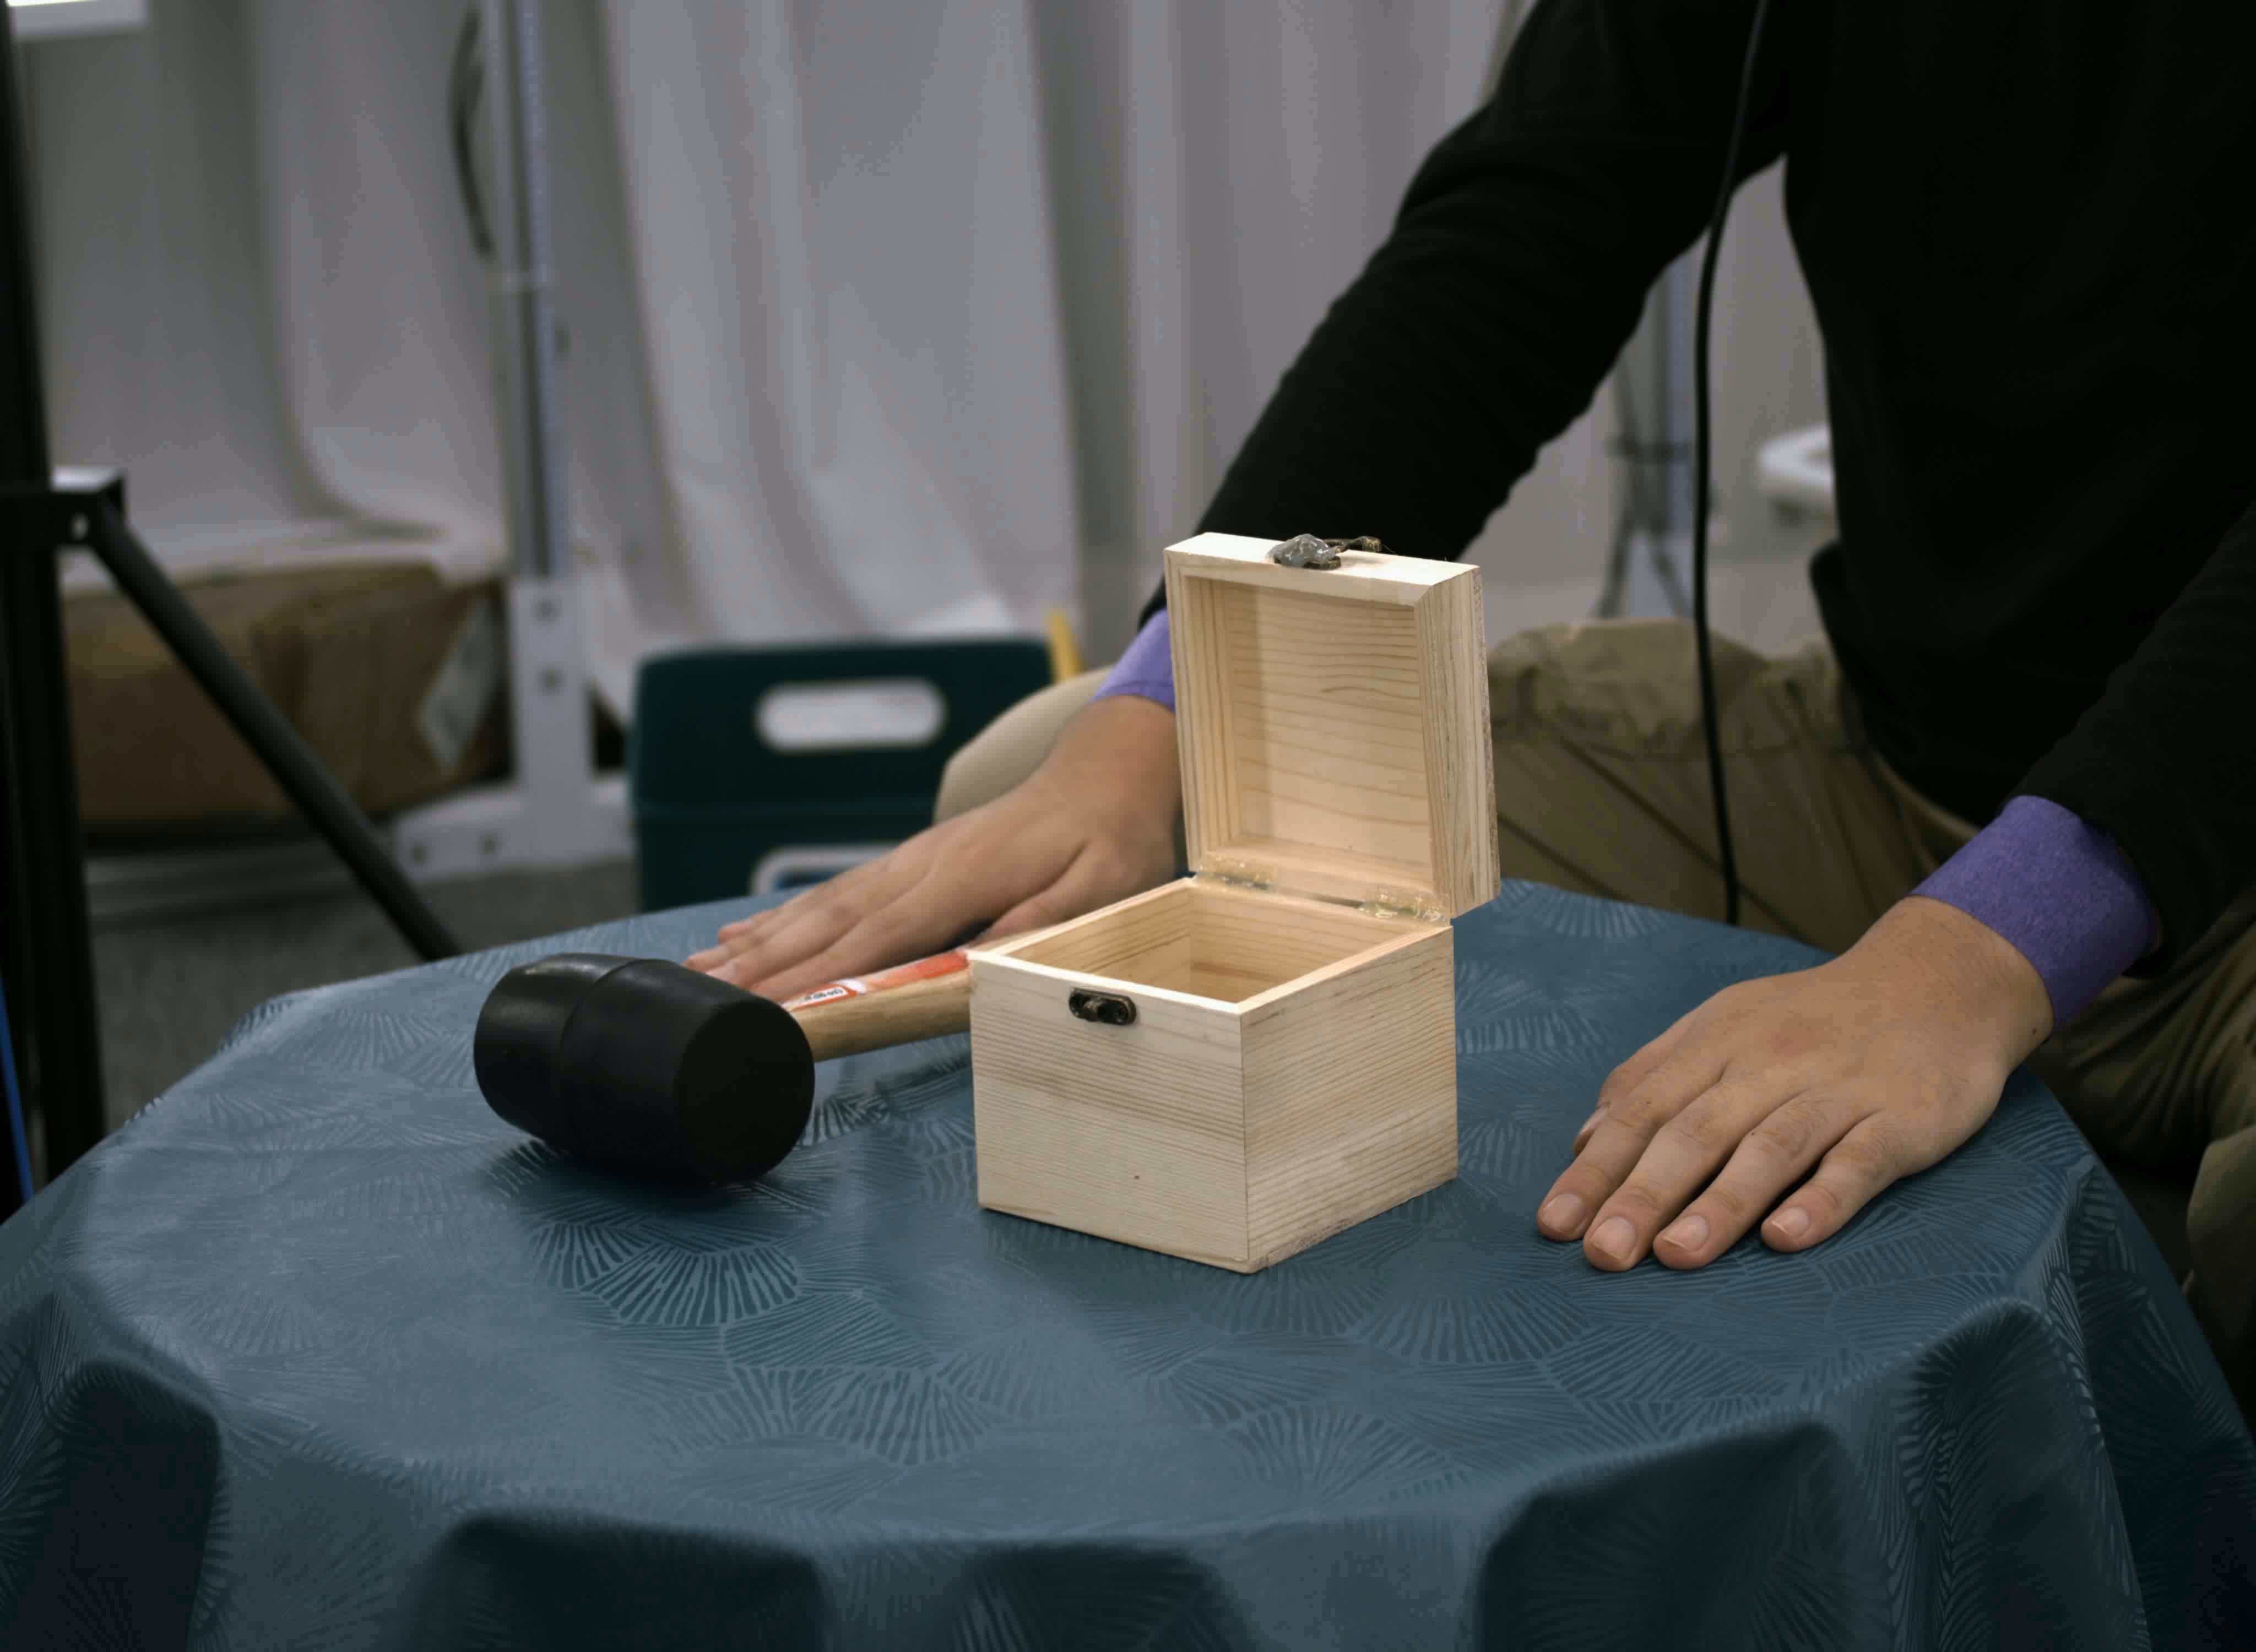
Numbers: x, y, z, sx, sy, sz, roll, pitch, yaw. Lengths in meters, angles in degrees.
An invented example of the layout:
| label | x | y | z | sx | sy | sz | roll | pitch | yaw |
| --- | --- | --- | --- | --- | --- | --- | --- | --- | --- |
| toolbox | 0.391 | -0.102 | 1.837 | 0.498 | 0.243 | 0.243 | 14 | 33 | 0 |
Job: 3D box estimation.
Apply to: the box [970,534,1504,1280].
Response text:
| label | x | y | z | sx | sy | sz | roll | pitch | yaw |
| --- | --- | --- | --- | --- | --- | --- | --- | --- | --- |
| box | 0.031 | 0.019 | 1.535 | 0.105 | 0.184 | 0.131 | 12 | 18 | 39 |

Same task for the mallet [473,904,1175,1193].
| label | x | y | z | sx | sy | sz | roll | pitch | yaw |
| --- | --- | --- | --- | --- | --- | --- | --- | --- | --- |
| mallet | -0.046 | 0.044 | 1.678 | 0.331 | 0.064 | 0.104 | -15 | 21 | -39 |
